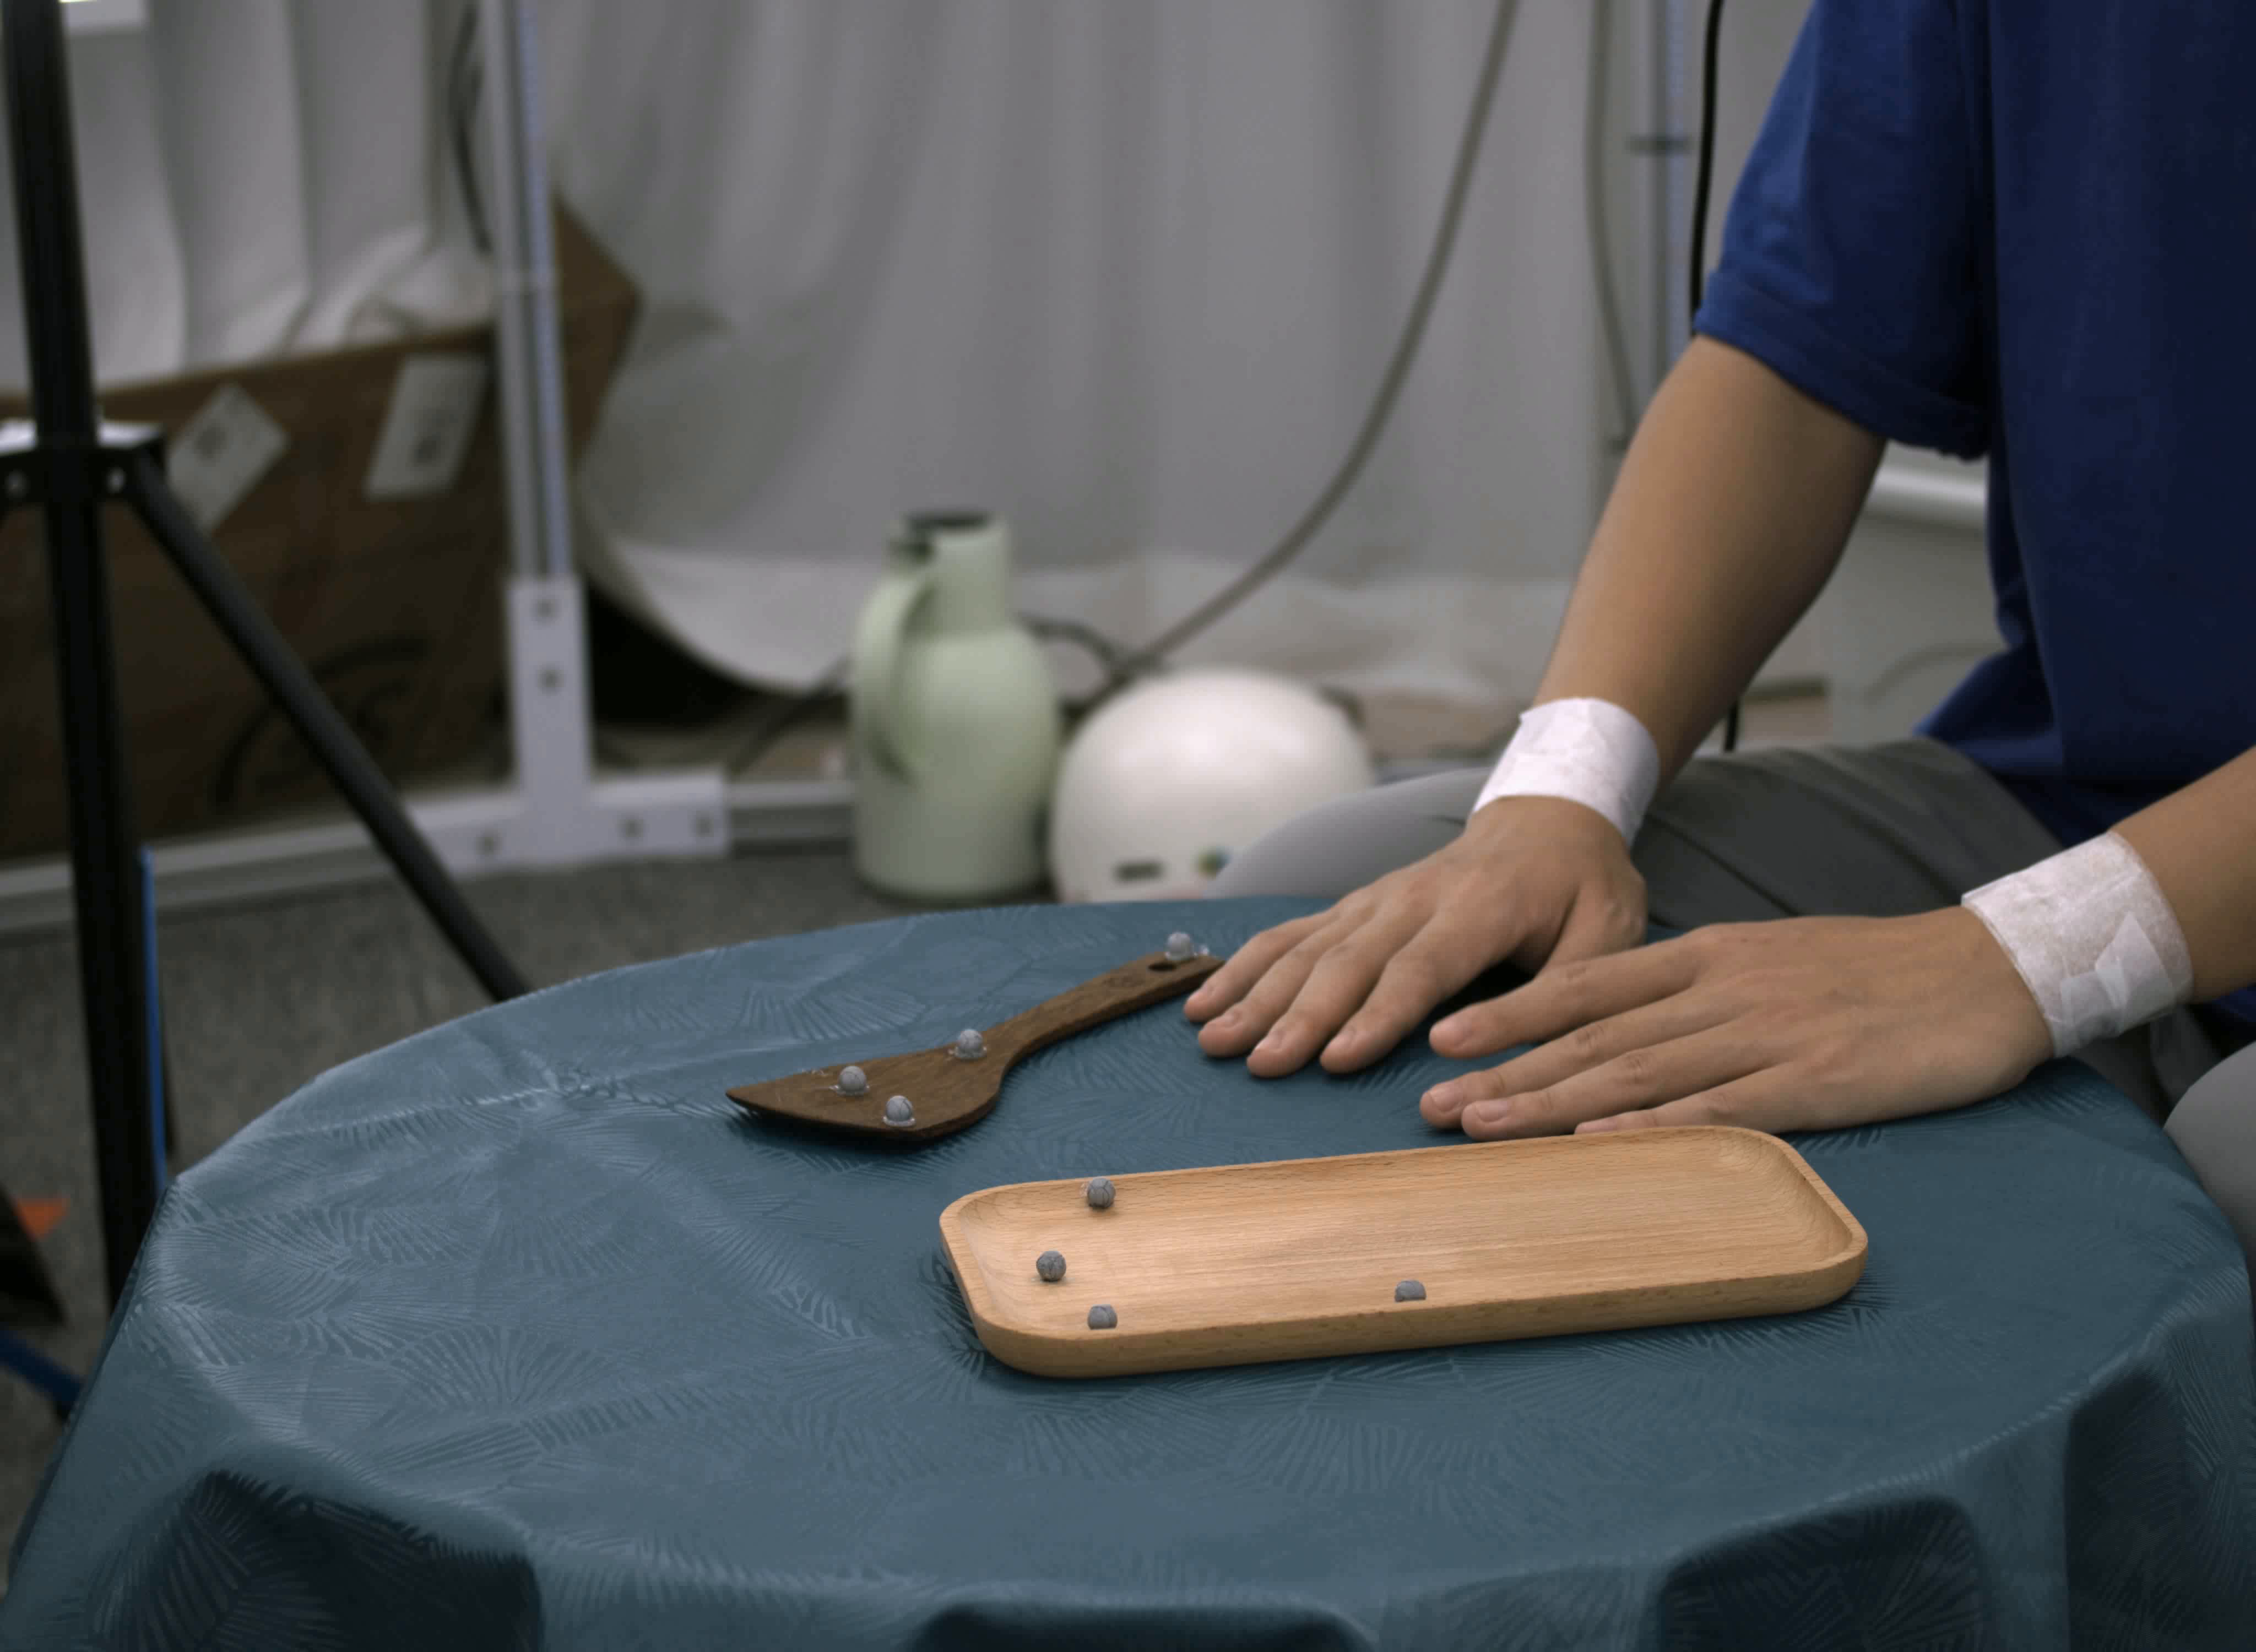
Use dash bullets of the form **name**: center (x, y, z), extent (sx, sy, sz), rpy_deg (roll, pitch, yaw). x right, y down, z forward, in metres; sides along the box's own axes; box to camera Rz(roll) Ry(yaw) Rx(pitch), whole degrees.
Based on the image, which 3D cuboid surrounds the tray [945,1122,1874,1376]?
- **tray**: center (0.077, 0.118, 1.480), extent (0.248, 0.023, 0.132), rpy_deg (-3, 18, -6)

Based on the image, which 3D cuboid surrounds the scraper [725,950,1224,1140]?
- **scraper**: center (-0.037, 0.068, 1.690), extent (0.077, 0.011, 0.207), rpy_deg (11, 19, 36)
